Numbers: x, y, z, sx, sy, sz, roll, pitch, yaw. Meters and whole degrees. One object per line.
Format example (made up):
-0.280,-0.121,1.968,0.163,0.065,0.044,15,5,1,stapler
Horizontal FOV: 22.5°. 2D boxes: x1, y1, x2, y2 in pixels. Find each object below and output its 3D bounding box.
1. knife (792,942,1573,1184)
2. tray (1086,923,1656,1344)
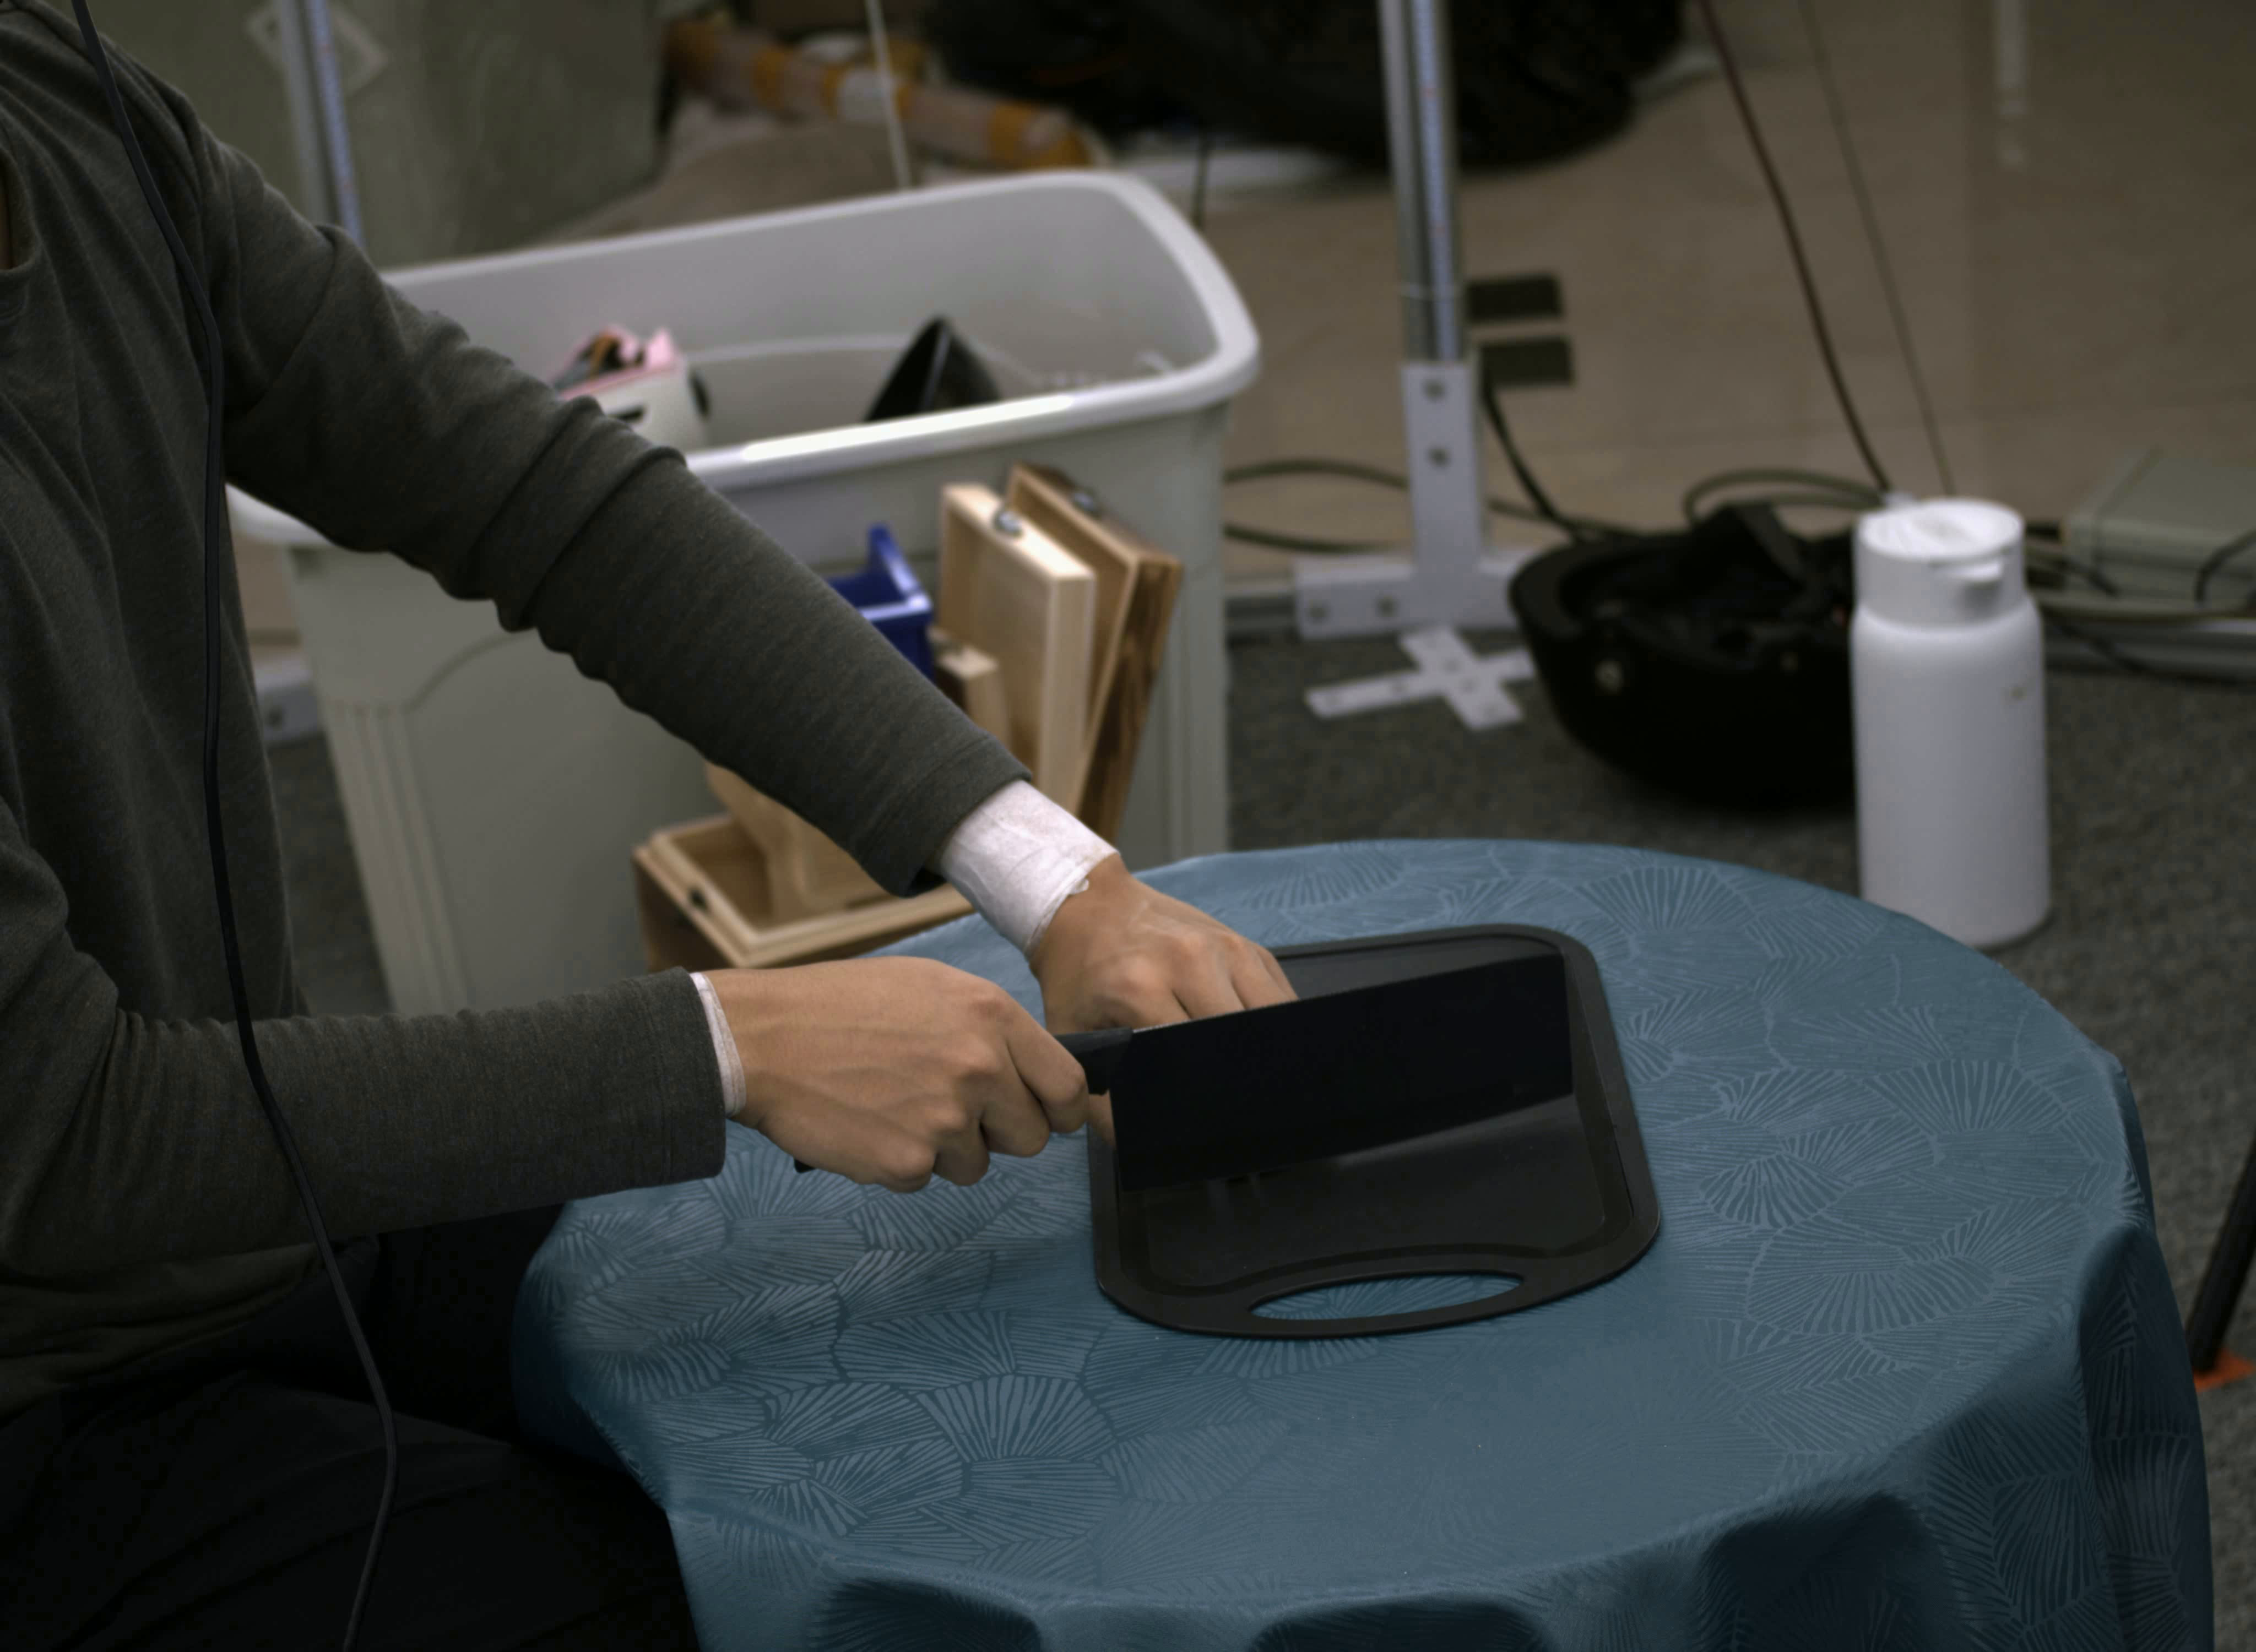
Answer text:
0.023,0.097,2.126,0.301,0.082,0.020,-7,20,-12,knife
0.089,0.113,2.178,0.211,0.010,0.320,-6,25,2,tray
